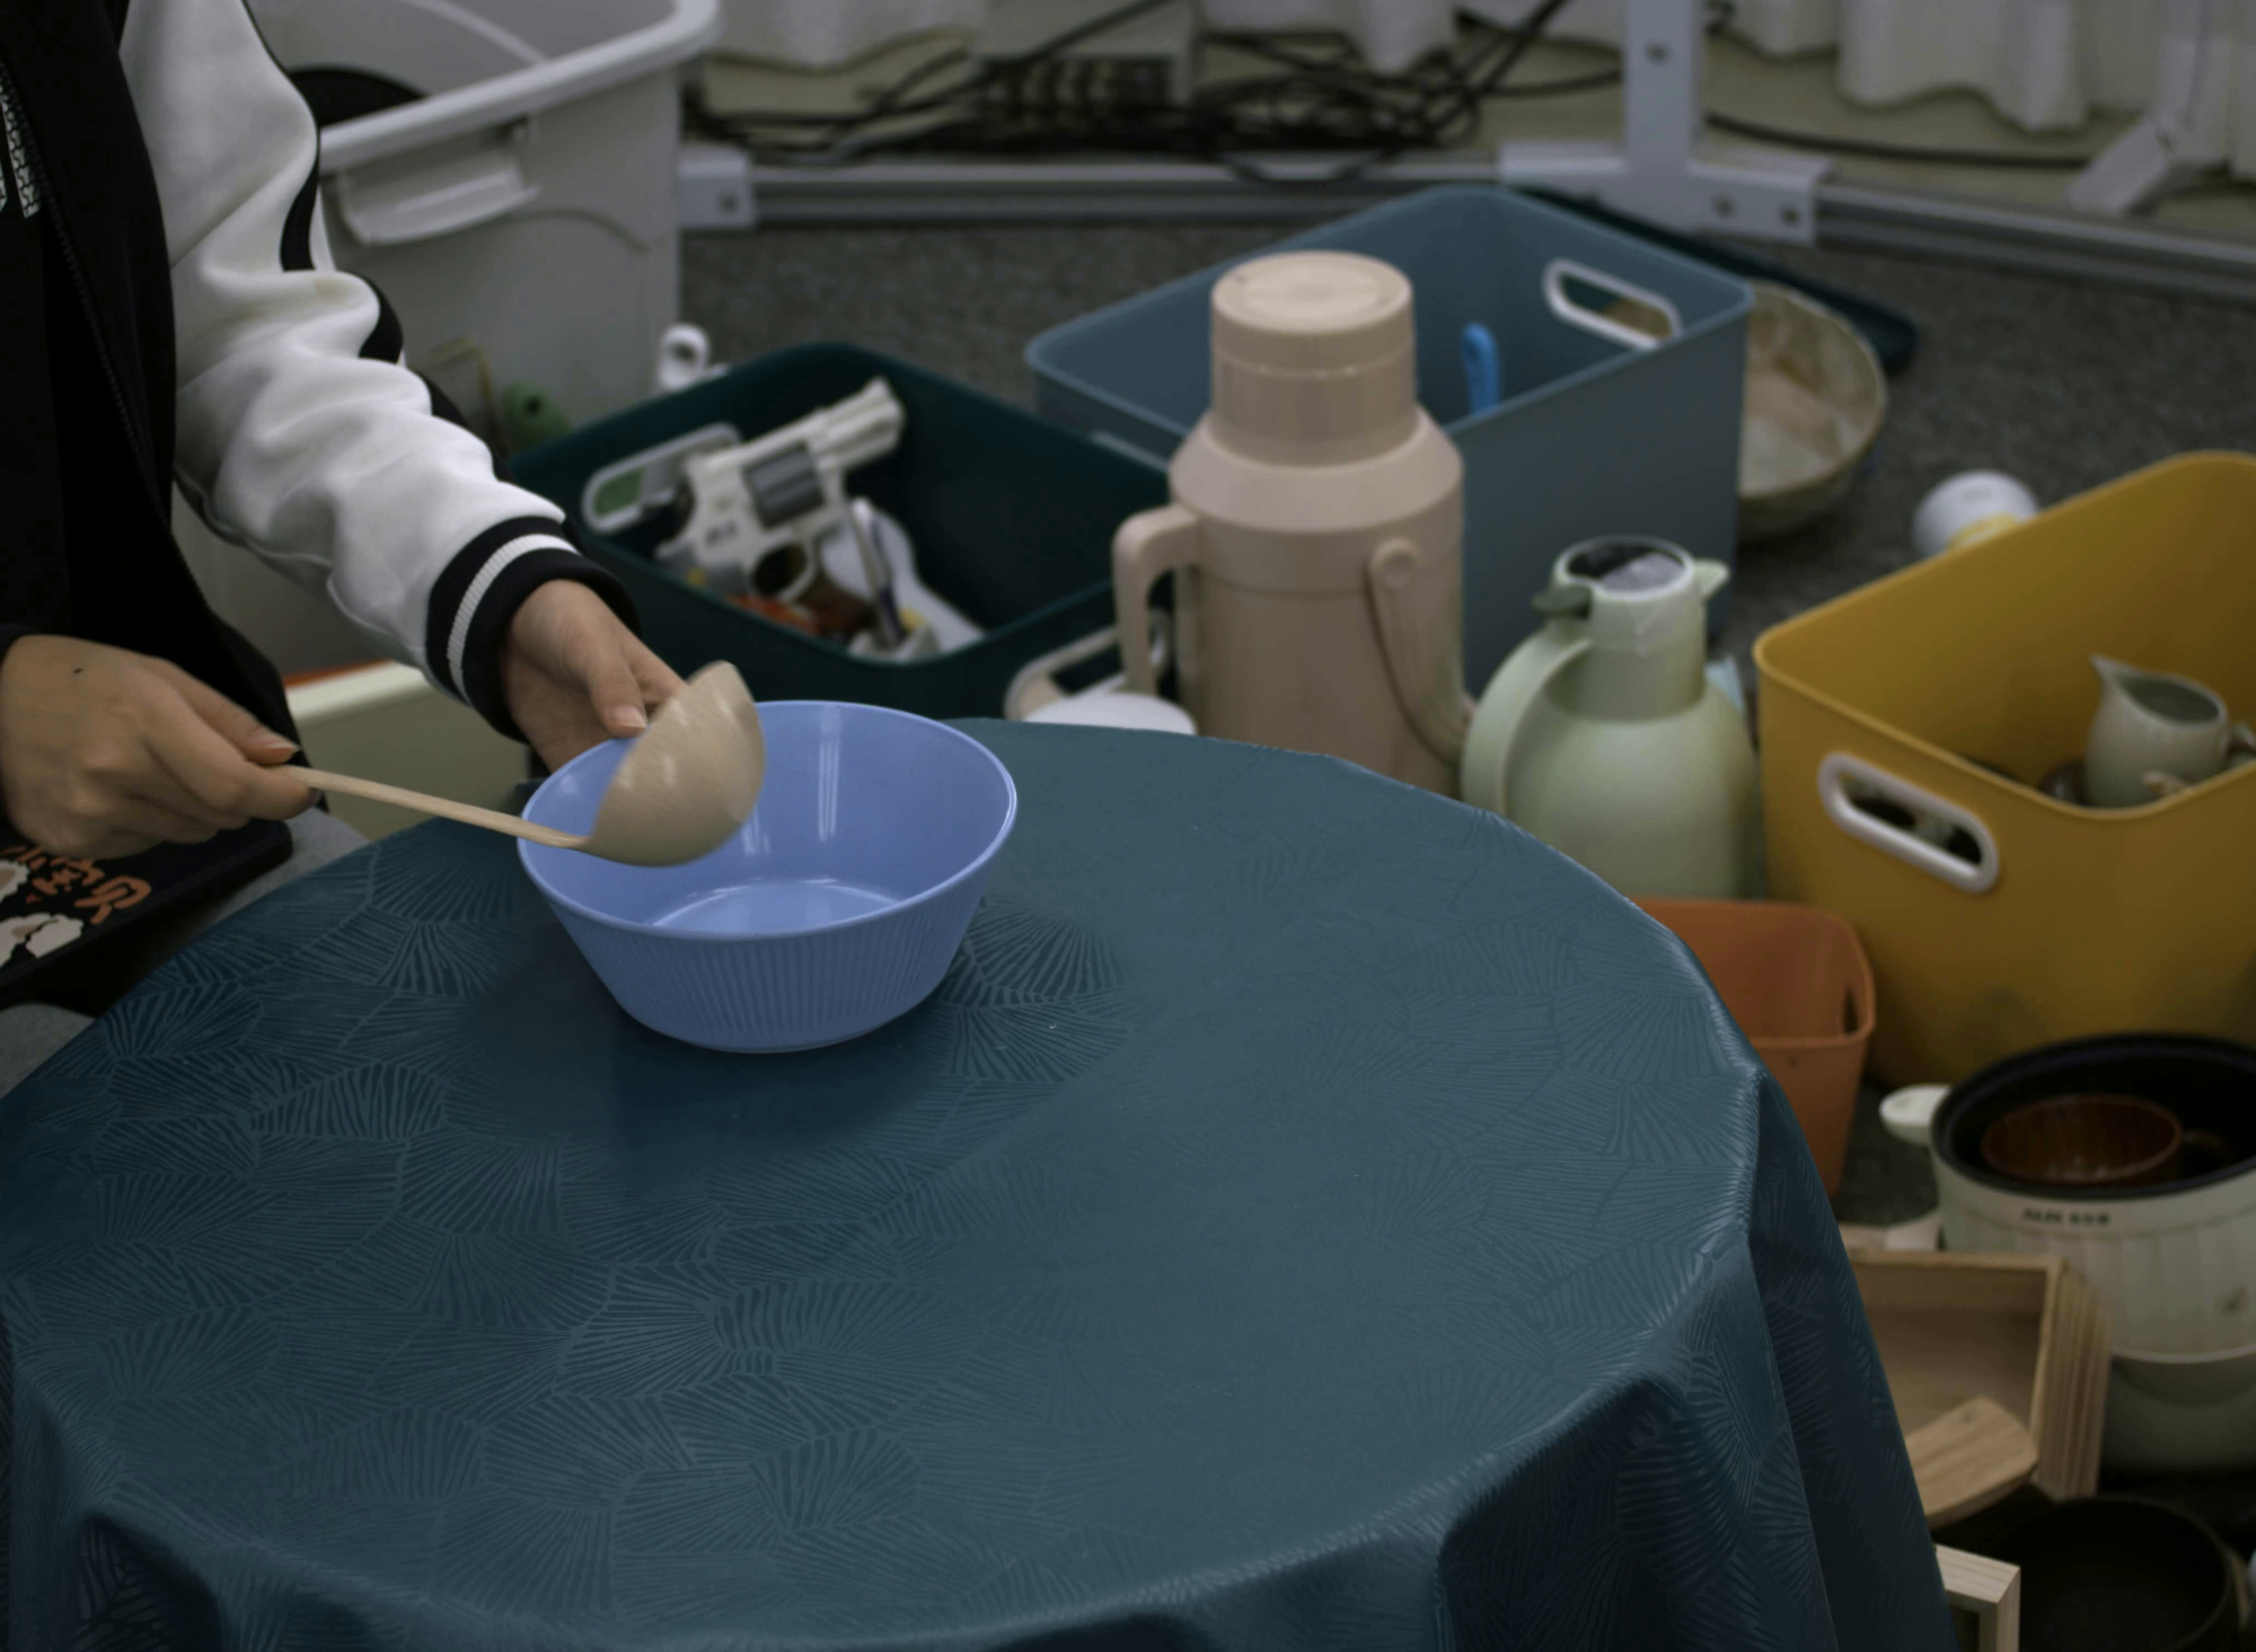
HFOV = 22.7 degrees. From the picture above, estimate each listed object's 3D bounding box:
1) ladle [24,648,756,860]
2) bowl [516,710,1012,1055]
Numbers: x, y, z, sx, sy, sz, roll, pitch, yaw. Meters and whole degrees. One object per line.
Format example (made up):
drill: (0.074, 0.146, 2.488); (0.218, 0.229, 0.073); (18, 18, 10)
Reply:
ladle: (-0.248, -0.037, 1.877); (0.253, 0.073, 0.072); (8, 1, 15)
bowl: (-0.126, 0.025, 1.985); (0.175, 0.069, 0.178); (-2, 26, 1)
